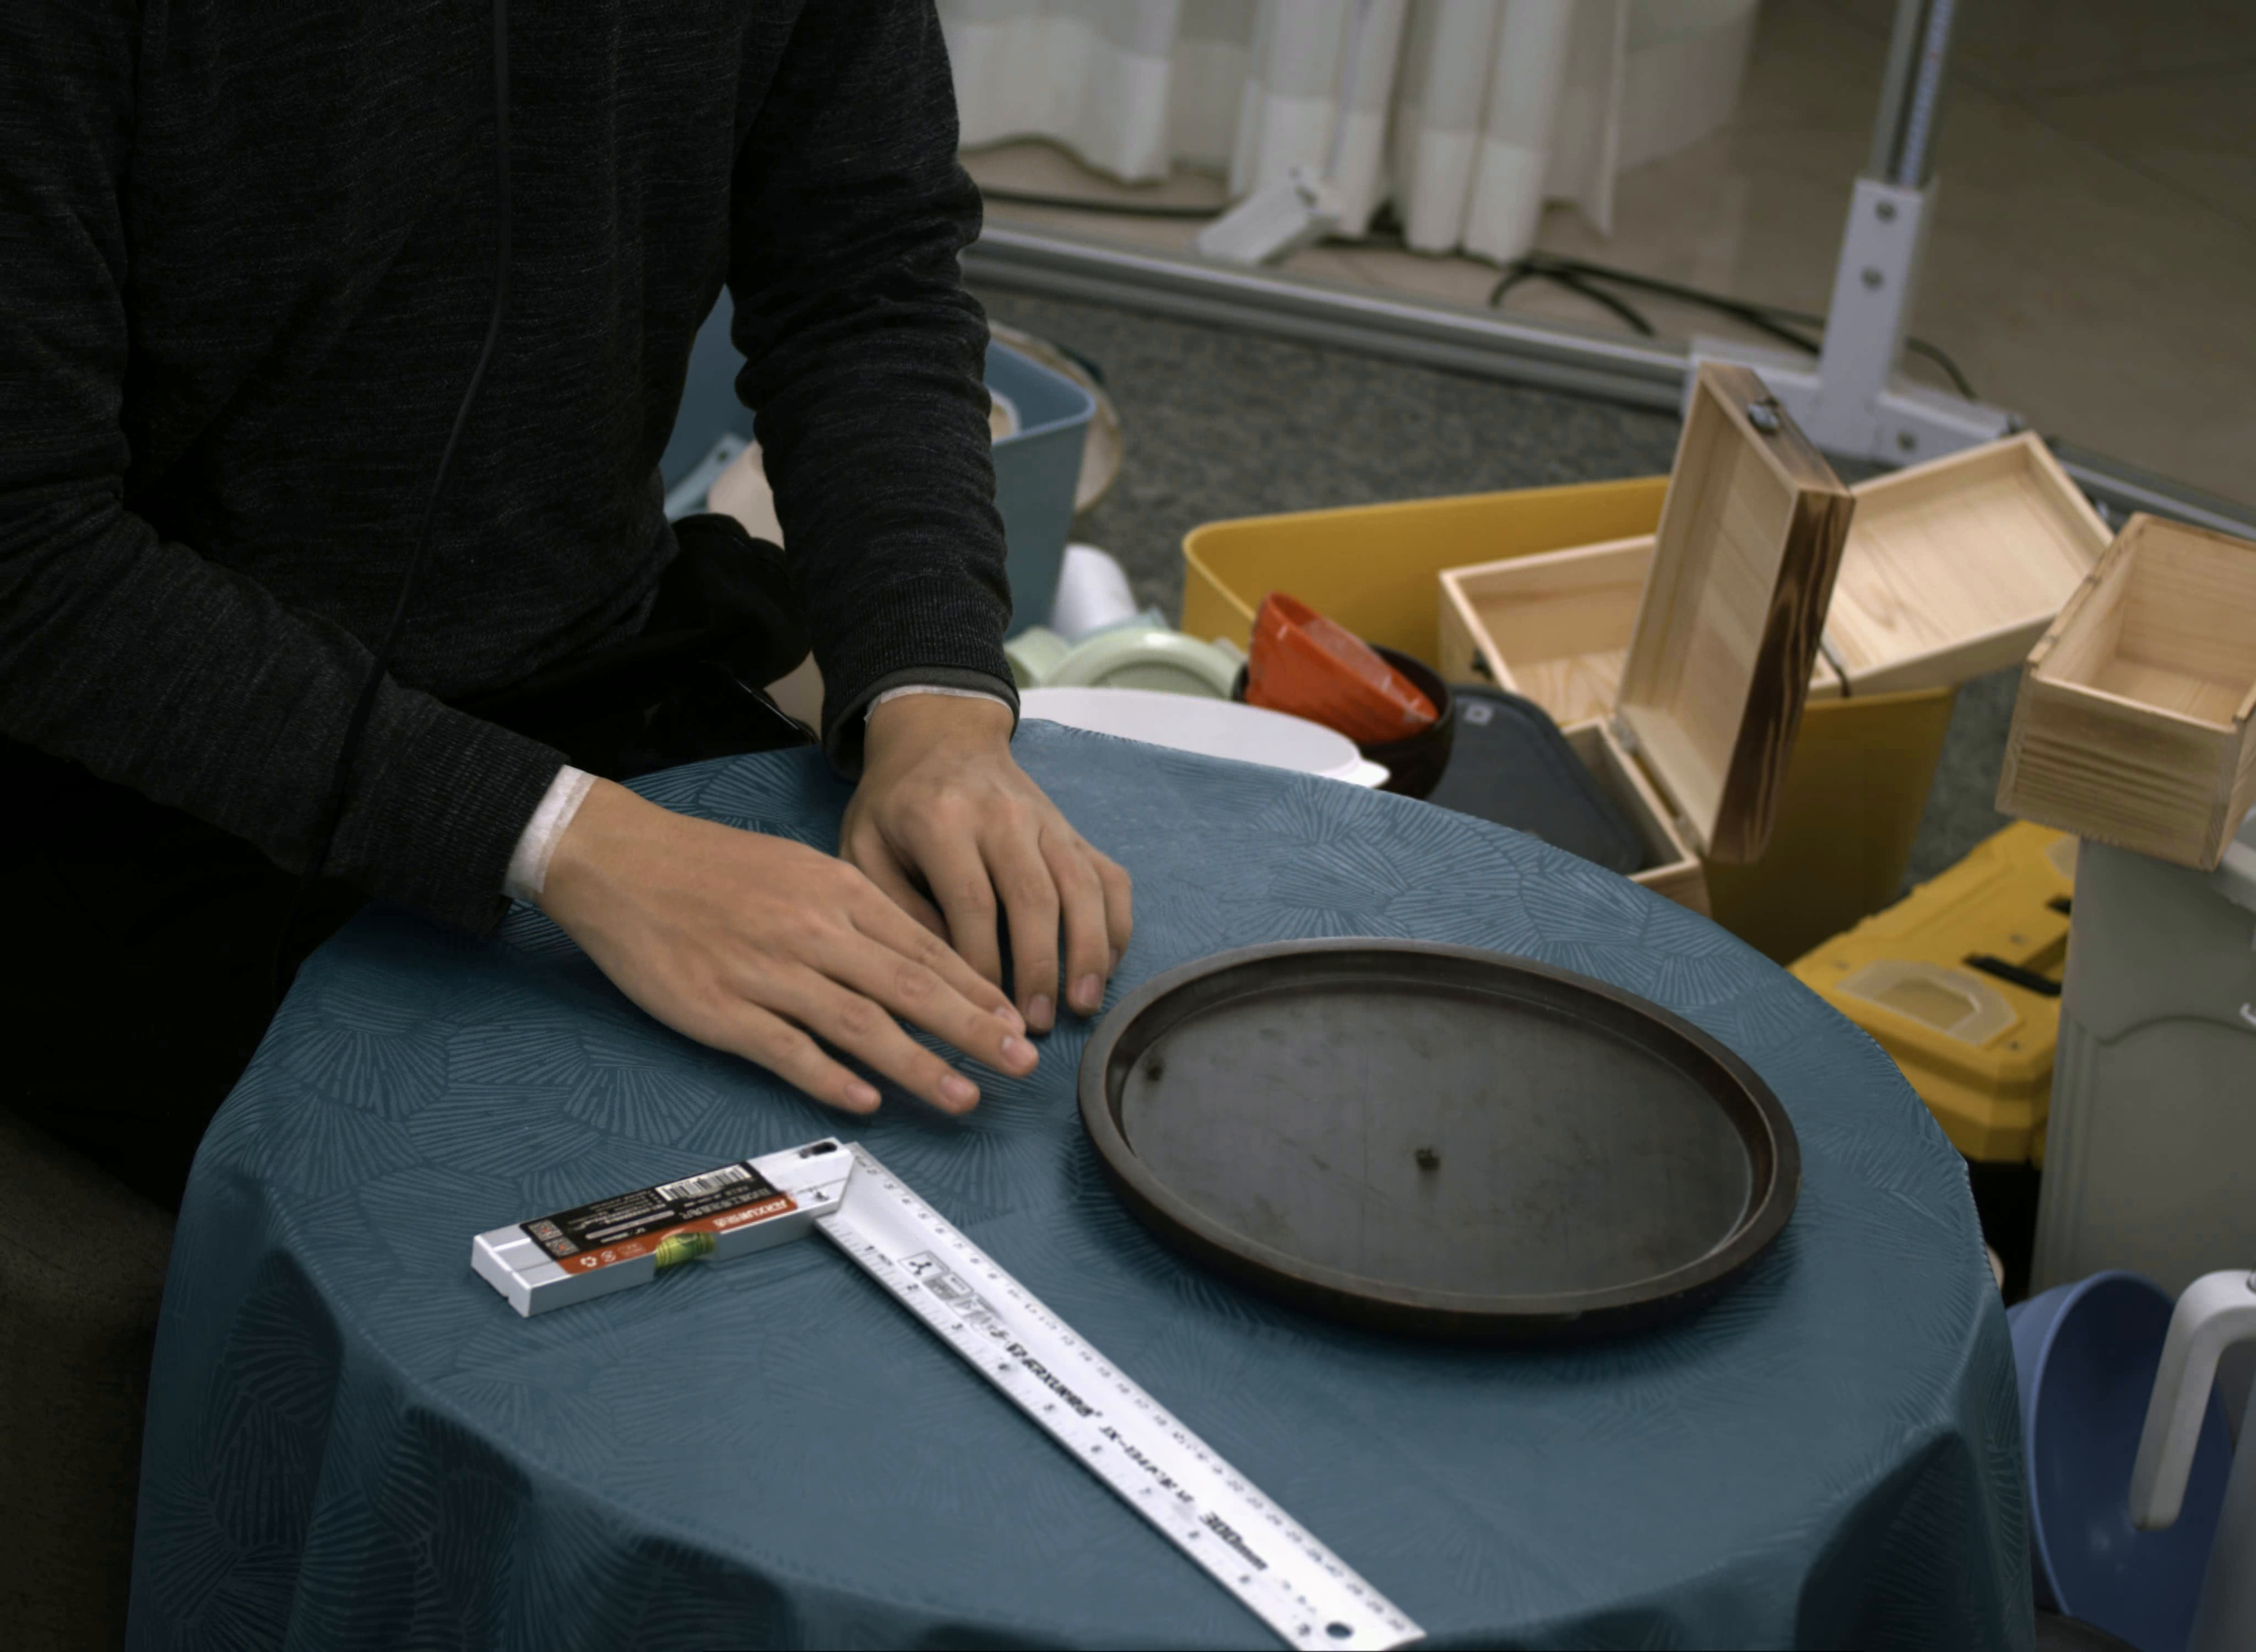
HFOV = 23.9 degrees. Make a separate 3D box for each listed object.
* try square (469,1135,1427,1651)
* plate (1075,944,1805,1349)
[{"bbox_3d":[-0.062,0.189,1.652,0.151,0.016,0.315,-14,34,-34],"label":"try square"},{"bbox_3d":[0.106,0.108,1.831,0.254,0.029,0.256,6,28,-3],"label":"plate"}]
